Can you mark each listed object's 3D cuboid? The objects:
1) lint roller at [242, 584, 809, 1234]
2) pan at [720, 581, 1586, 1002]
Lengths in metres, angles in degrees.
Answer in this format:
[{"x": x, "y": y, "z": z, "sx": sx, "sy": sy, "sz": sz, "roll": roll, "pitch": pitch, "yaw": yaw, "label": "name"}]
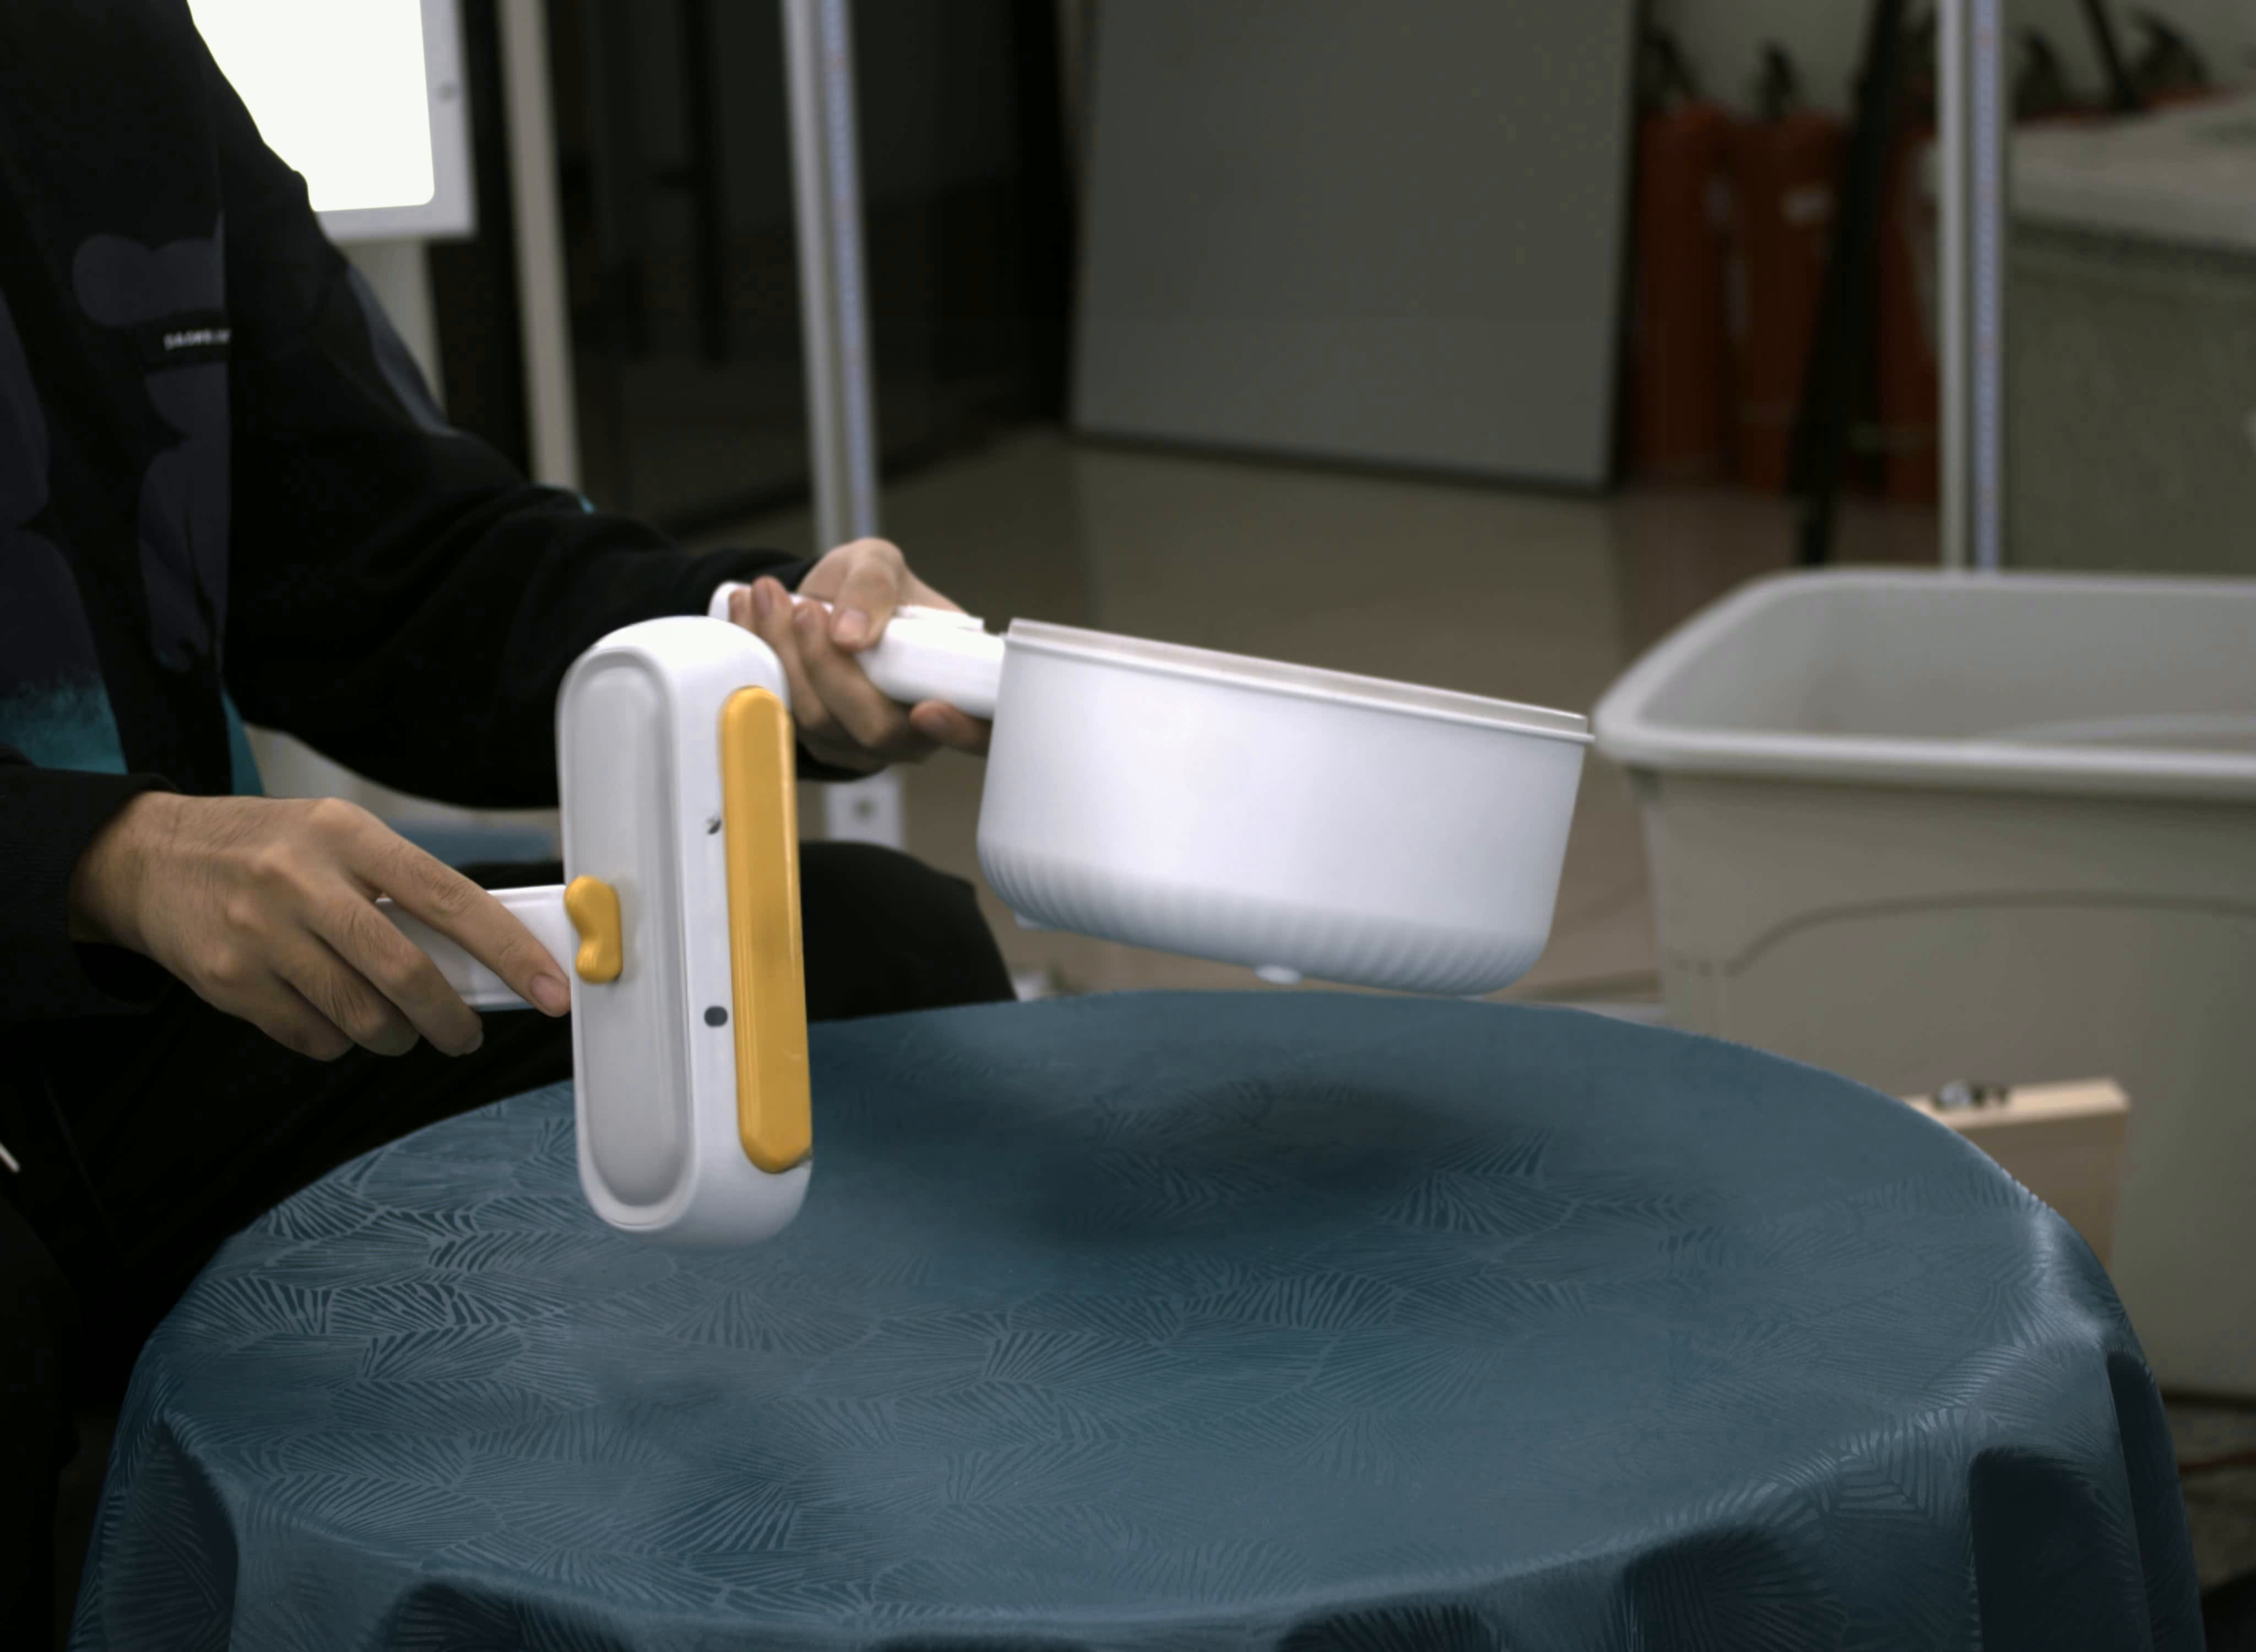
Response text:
[{"x": -0.183, "y": 0.034, "z": 1.646, "sx": 0.193, "sy": 0.195, "sz": 0.073, "roll": -12, "pitch": -8, "yaw": 36, "label": "lint roller"}, {"x": -0.011, "y": -0.016, "z": 1.837, "sx": 0.358, "sy": 0.103, "sz": 0.197, "roll": 10, "pitch": 1, "yaw": 40, "label": "pan"}]
